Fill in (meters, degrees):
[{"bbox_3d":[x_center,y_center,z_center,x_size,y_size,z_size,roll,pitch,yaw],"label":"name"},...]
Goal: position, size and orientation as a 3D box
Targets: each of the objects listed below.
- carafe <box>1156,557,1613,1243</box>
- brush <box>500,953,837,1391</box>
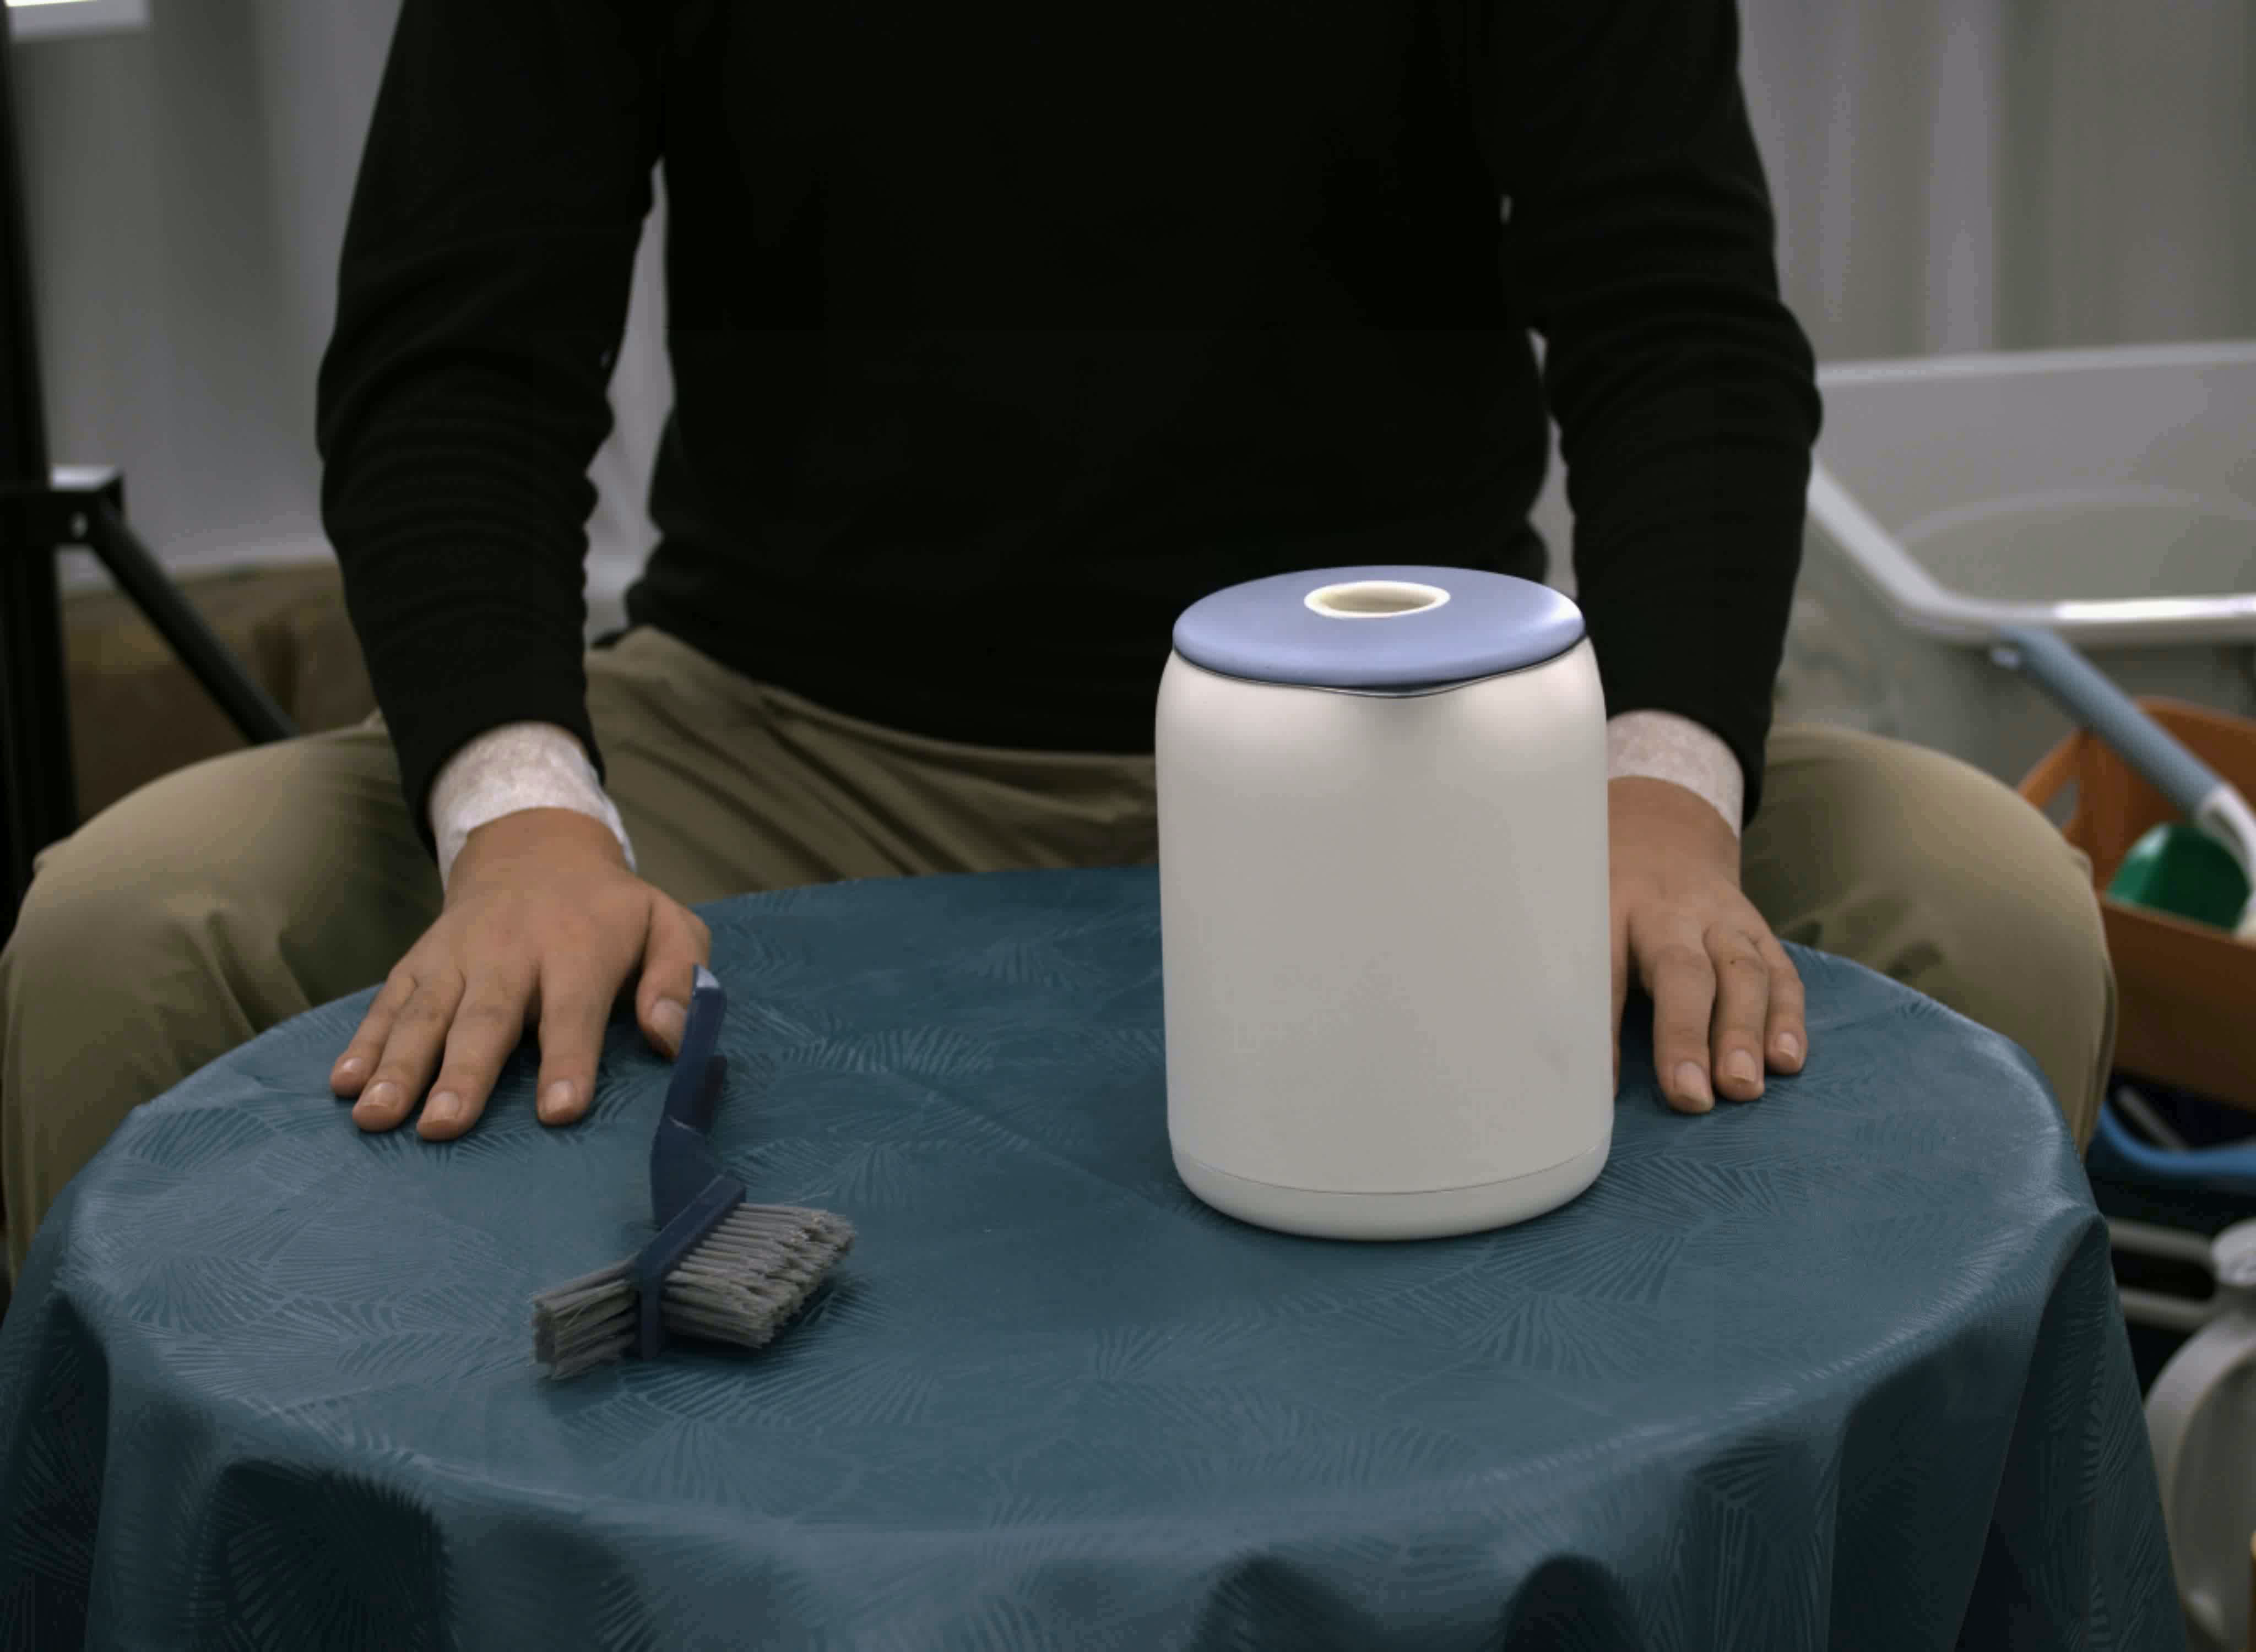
[{"bbox_3d":[0.072,0.014,1.563,0.131,0.182,0.192,-3,14,-5],"label":"carafe"},{"bbox_3d":[-0.137,0.097,1.562,0.095,0.033,0.275,-7,17,-5],"label":"brush"}]
